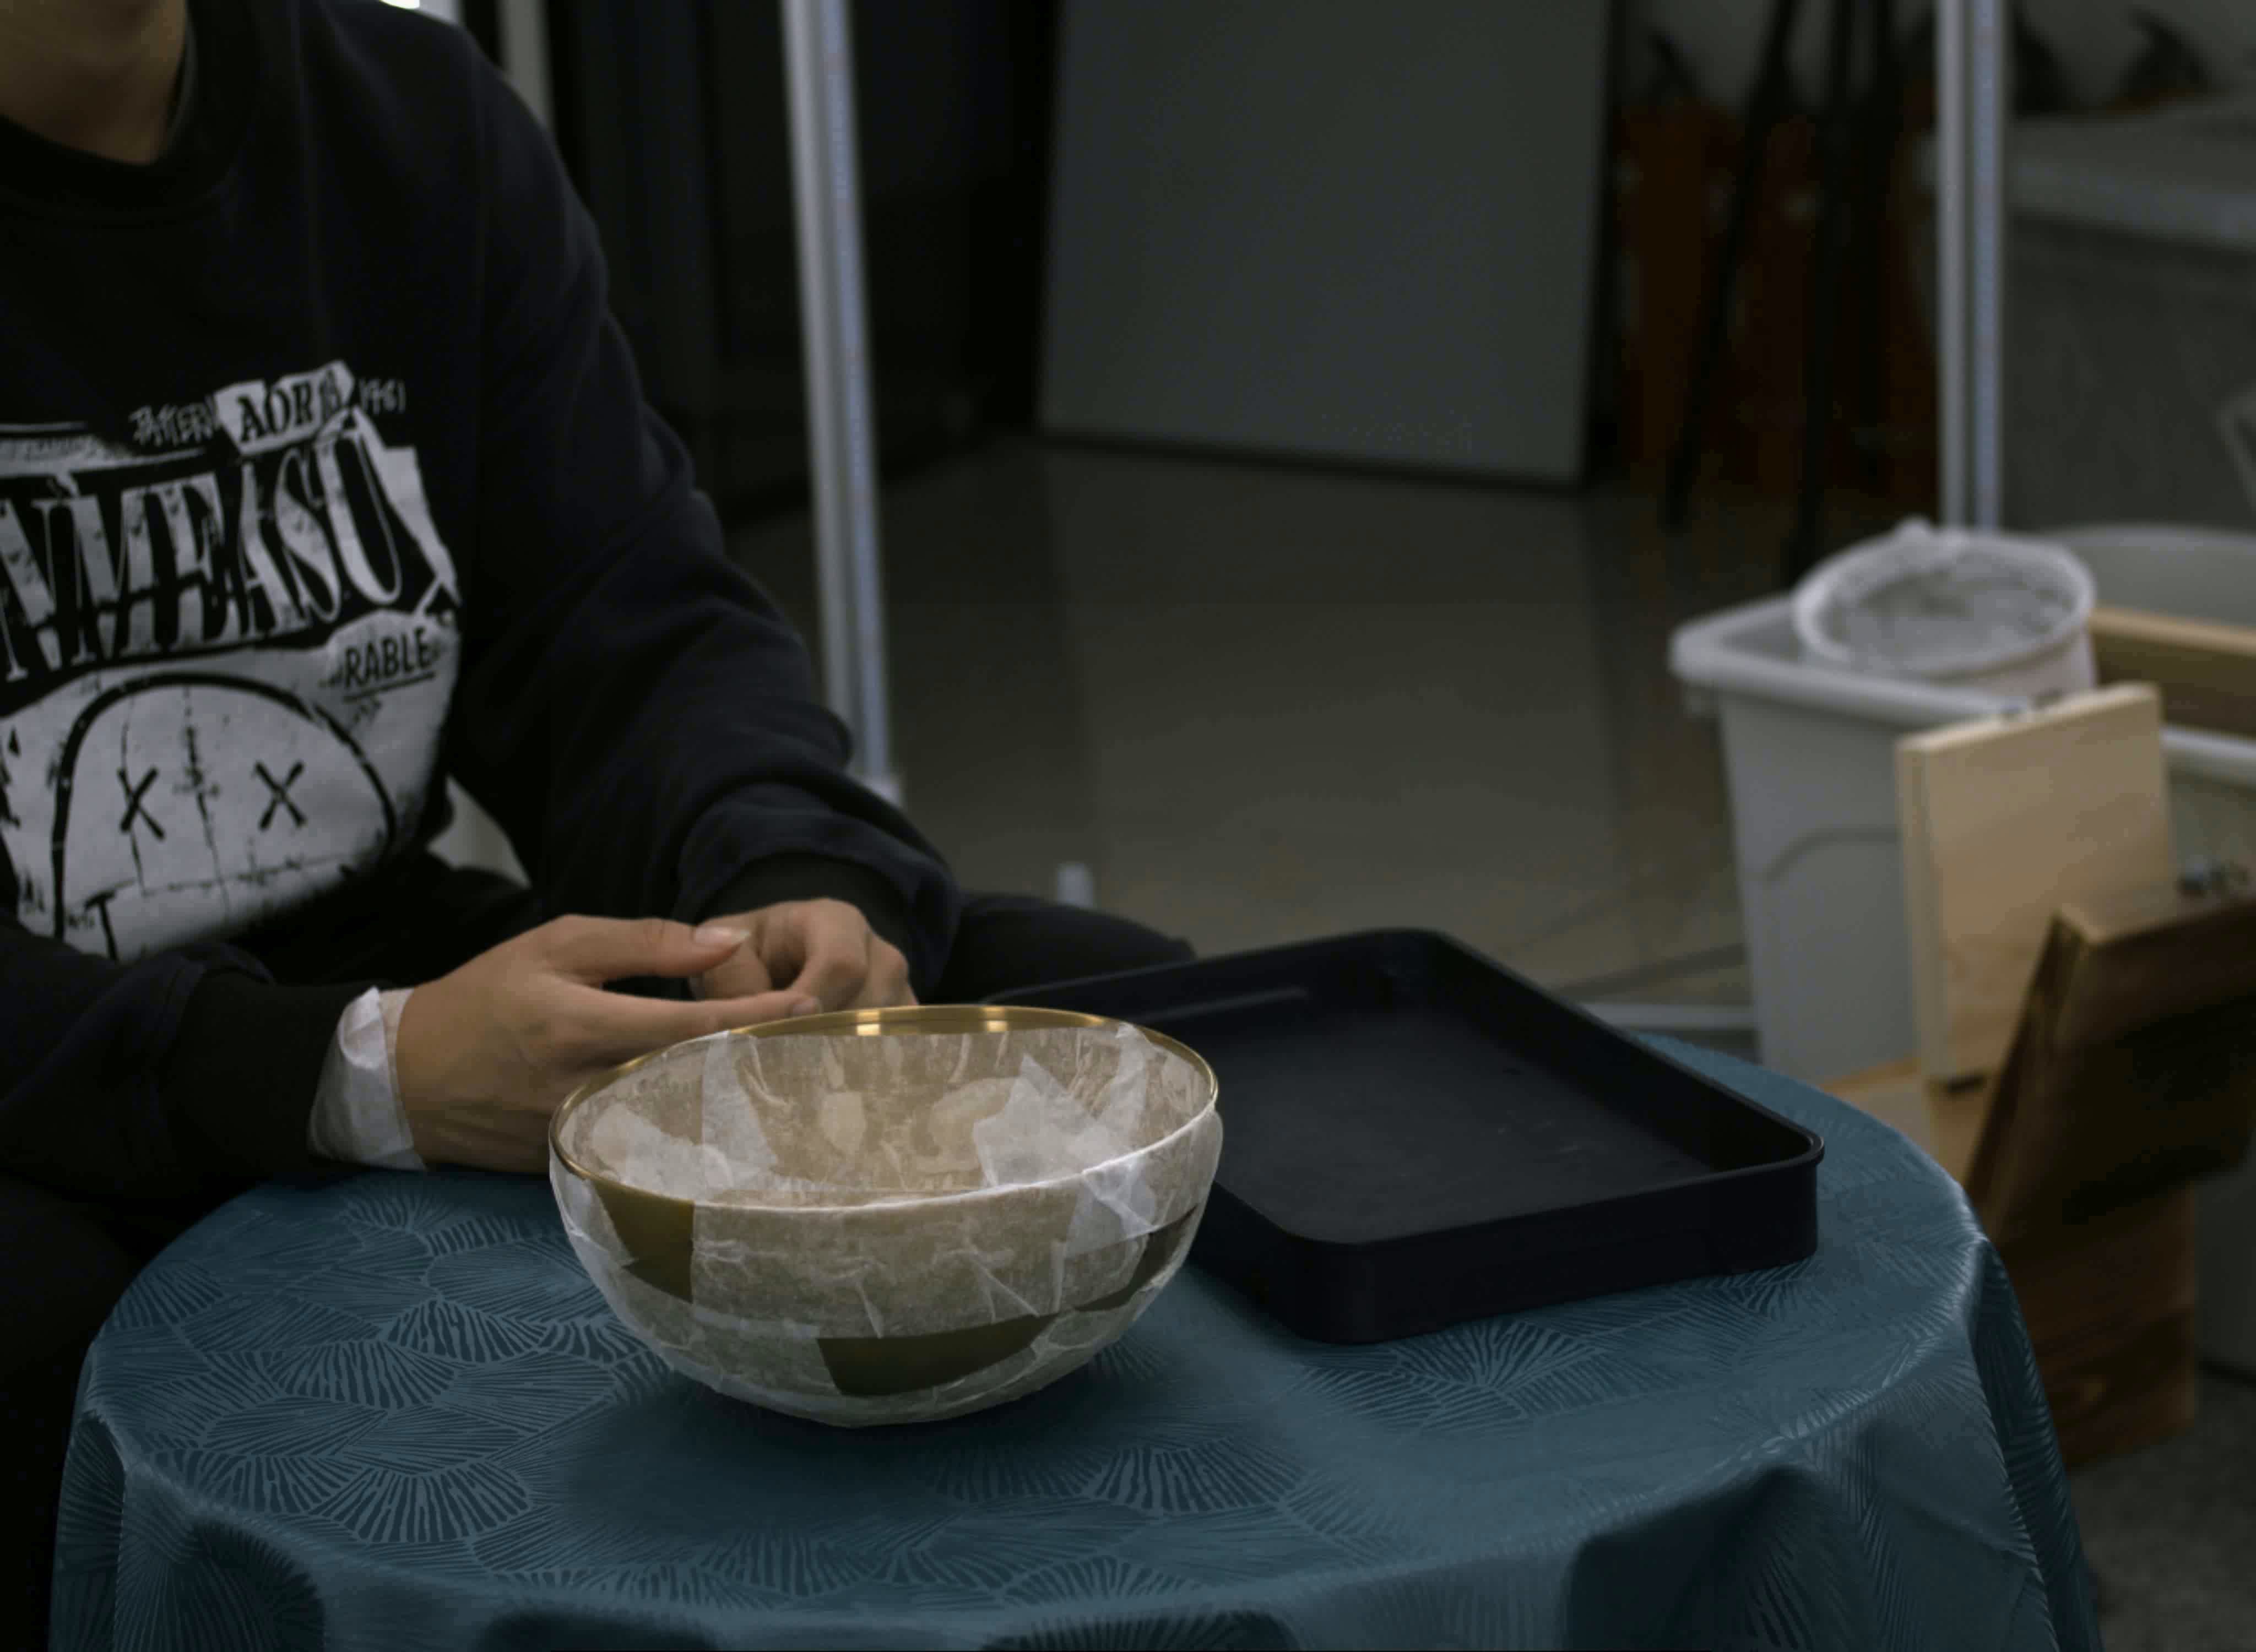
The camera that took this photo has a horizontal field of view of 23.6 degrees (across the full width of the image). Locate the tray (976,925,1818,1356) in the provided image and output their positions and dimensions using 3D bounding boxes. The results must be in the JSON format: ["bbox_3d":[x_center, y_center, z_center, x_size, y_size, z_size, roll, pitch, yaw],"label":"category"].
[{"bbox_3d":[0.081,0.098,1.772,0.180,0.037,0.321,-9,16,-18],"label":"tray"}]

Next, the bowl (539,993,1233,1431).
[{"bbox_3d":[-0.068,0.121,1.597,0.212,0.095,0.215,-5,14,0],"label":"bowl"}]
